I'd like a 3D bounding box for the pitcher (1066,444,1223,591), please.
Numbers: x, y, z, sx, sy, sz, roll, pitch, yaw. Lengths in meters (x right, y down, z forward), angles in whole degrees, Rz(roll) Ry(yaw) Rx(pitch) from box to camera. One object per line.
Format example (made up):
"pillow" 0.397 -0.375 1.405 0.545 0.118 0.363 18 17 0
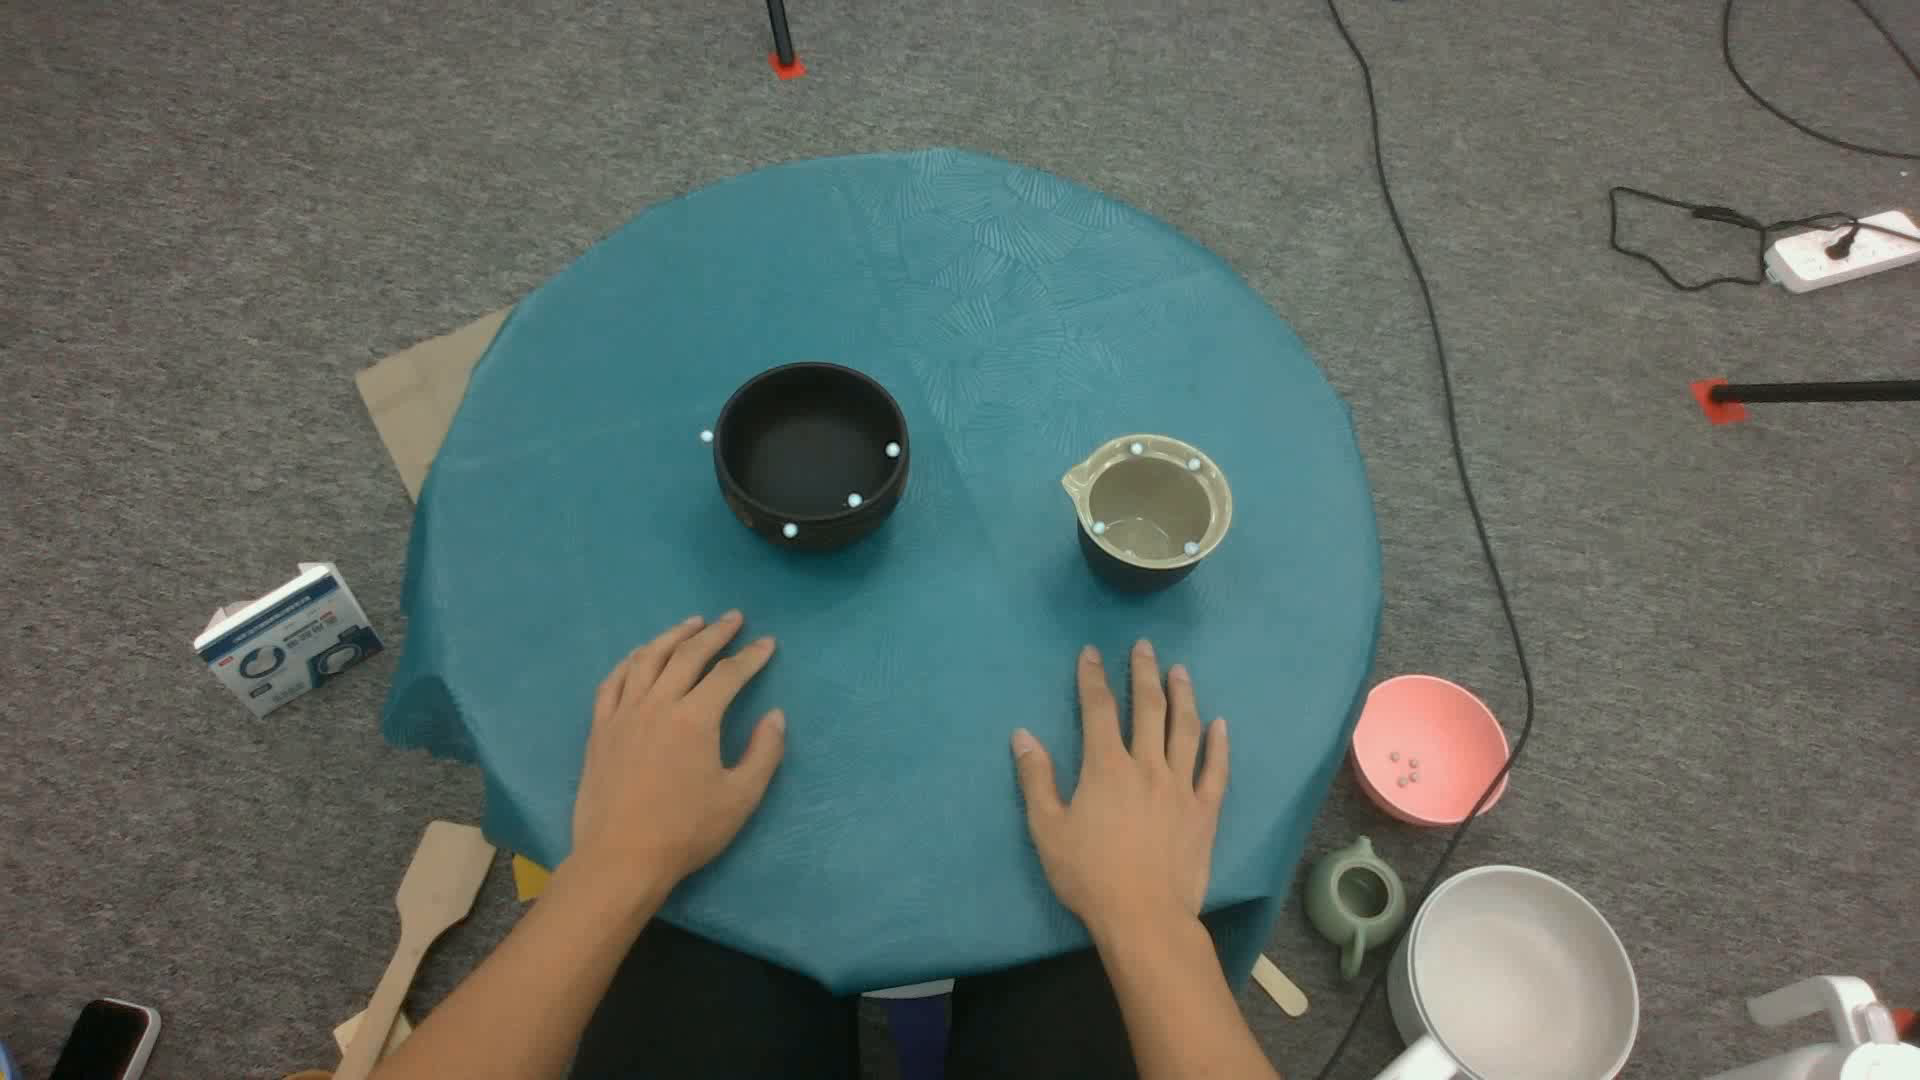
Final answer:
"pitcher" 0.107 -0.010 0.842 0.096 0.071 0.084 19 62 7

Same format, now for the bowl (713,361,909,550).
"bowl" -0.091 -0.045 0.852 0.118 0.069 0.118 2 58 -3
